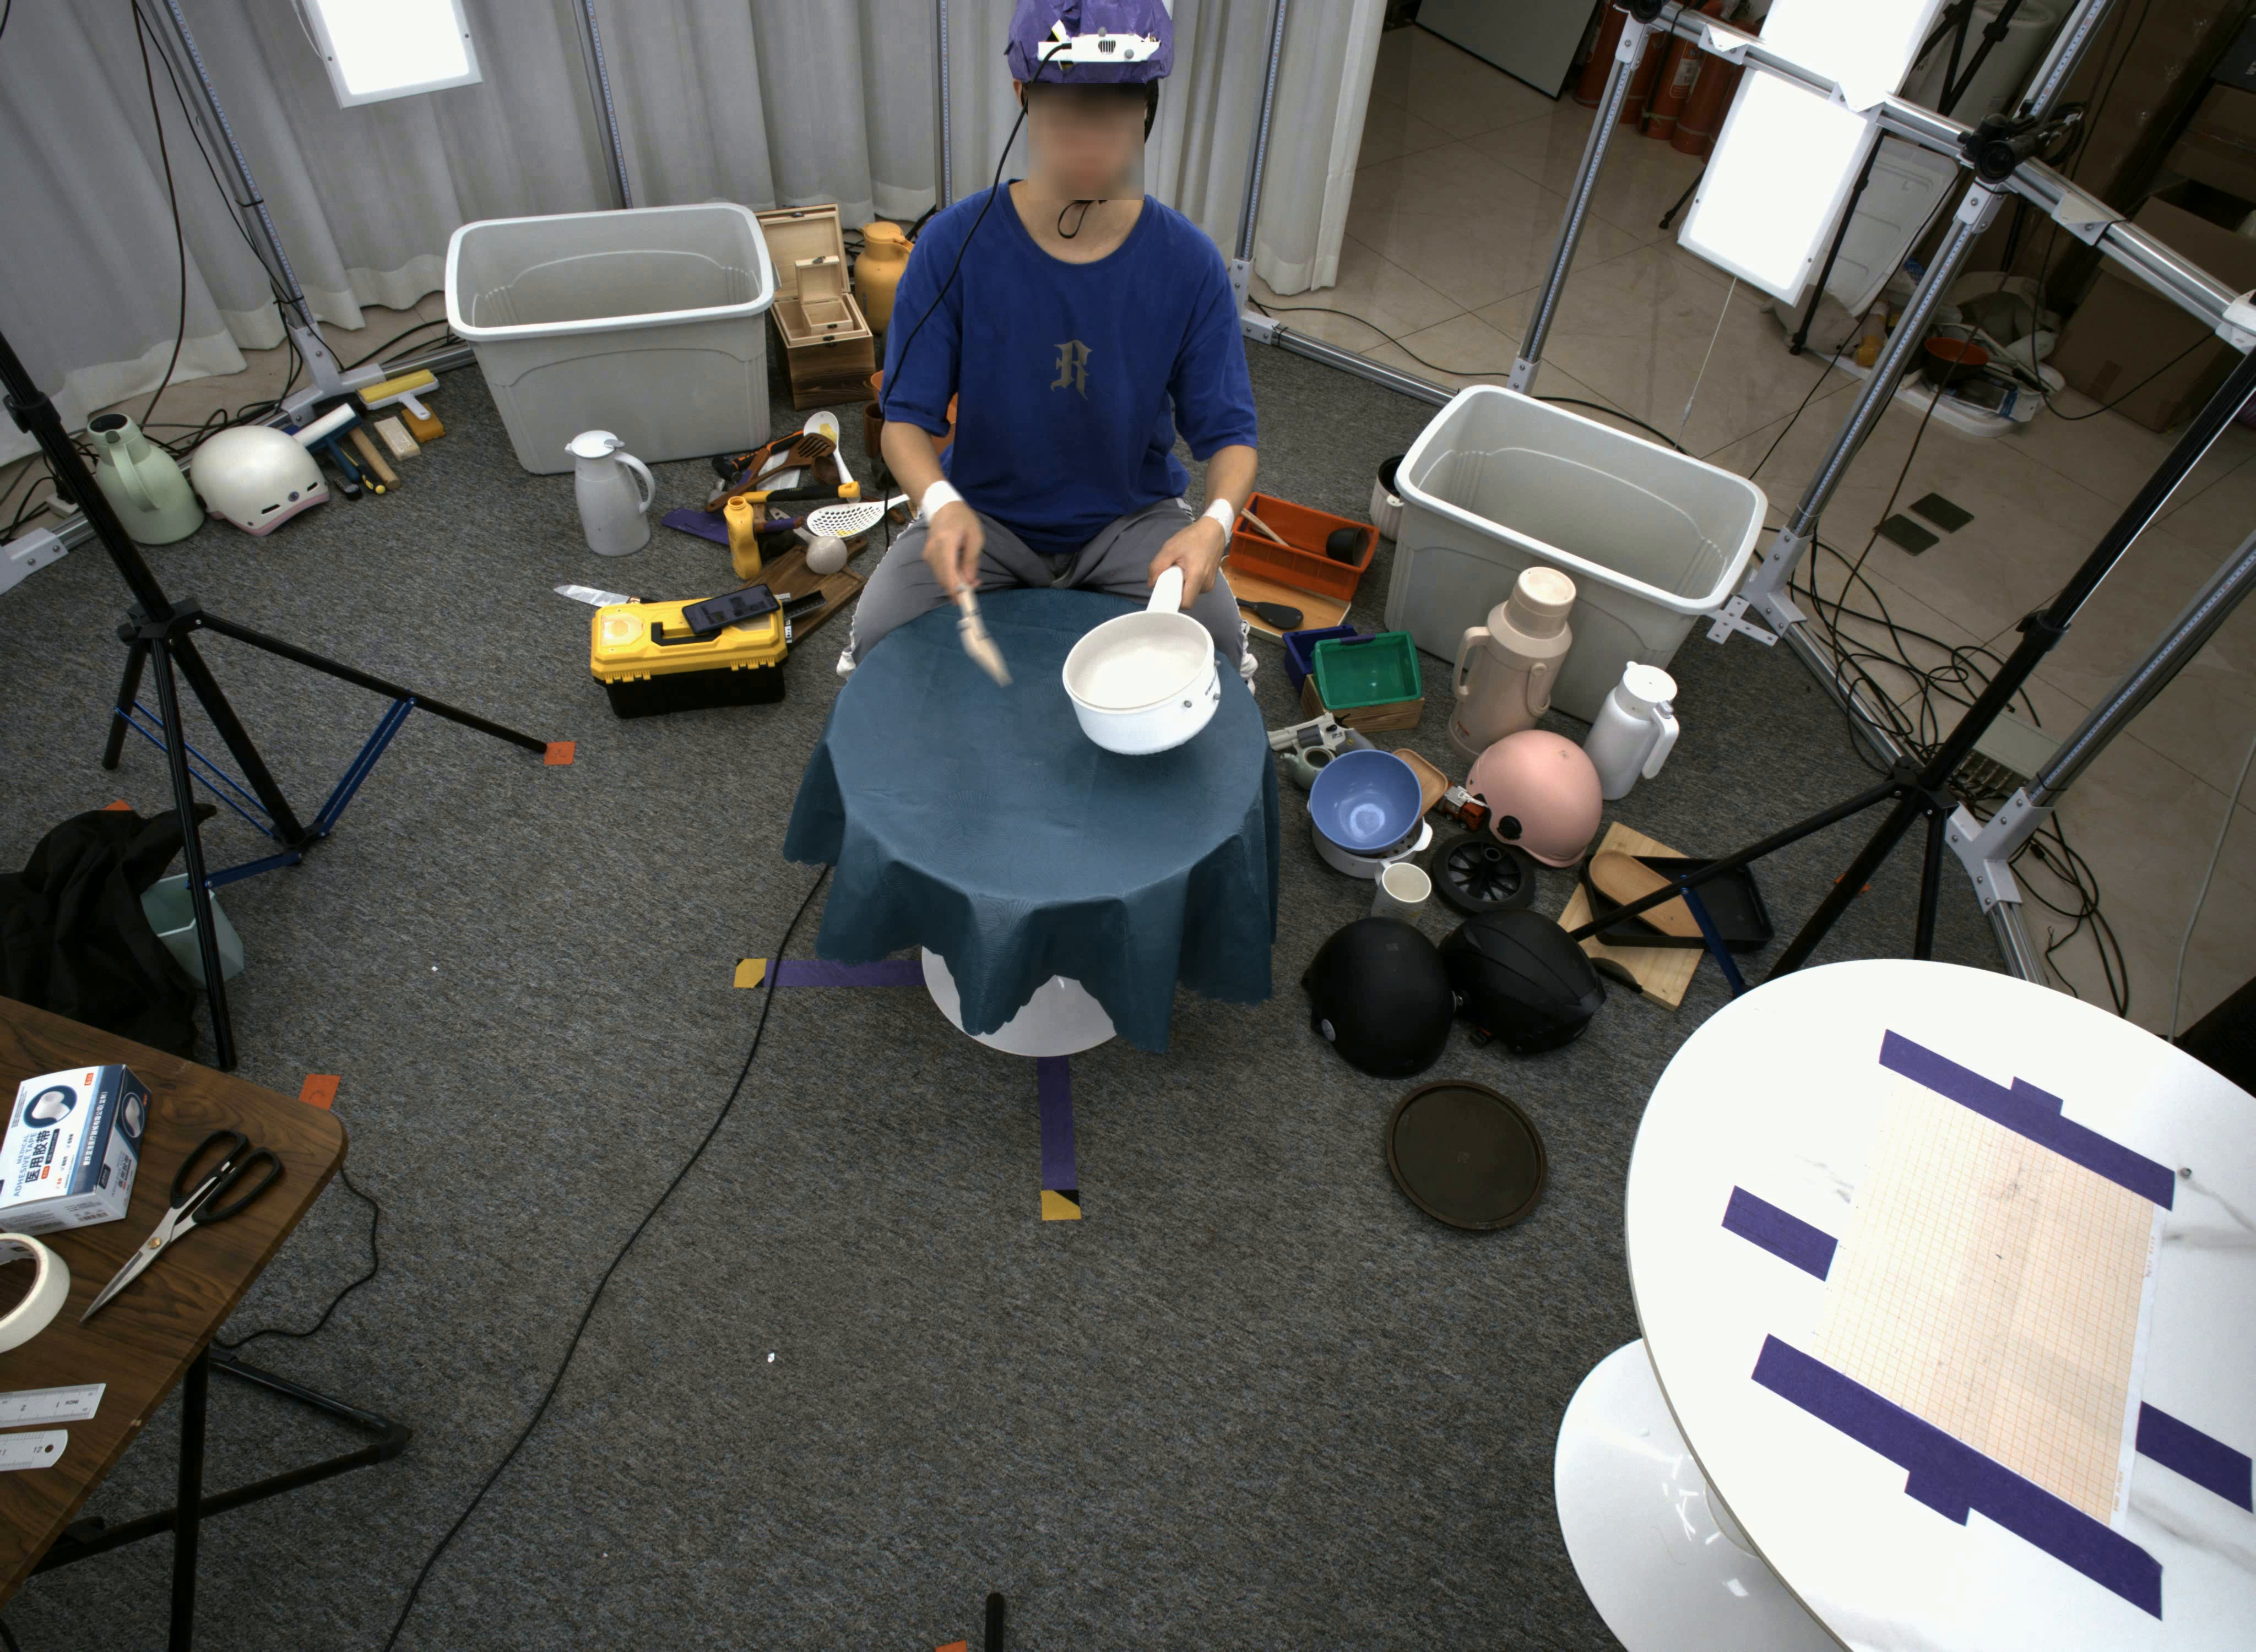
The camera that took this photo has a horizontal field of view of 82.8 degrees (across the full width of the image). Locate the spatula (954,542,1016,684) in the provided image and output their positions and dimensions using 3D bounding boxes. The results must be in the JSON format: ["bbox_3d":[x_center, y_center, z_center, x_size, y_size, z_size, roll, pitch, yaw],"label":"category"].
[{"bbox_3d":[-0.198,-0.292,1.695,0.010,0.071,0.300,-35,43,15],"label":"spatula"}]

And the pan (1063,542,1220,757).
[{"bbox_3d":[0.042,-0.241,1.752,0.202,0.099,0.362,0,47,21],"label":"pan"}]
